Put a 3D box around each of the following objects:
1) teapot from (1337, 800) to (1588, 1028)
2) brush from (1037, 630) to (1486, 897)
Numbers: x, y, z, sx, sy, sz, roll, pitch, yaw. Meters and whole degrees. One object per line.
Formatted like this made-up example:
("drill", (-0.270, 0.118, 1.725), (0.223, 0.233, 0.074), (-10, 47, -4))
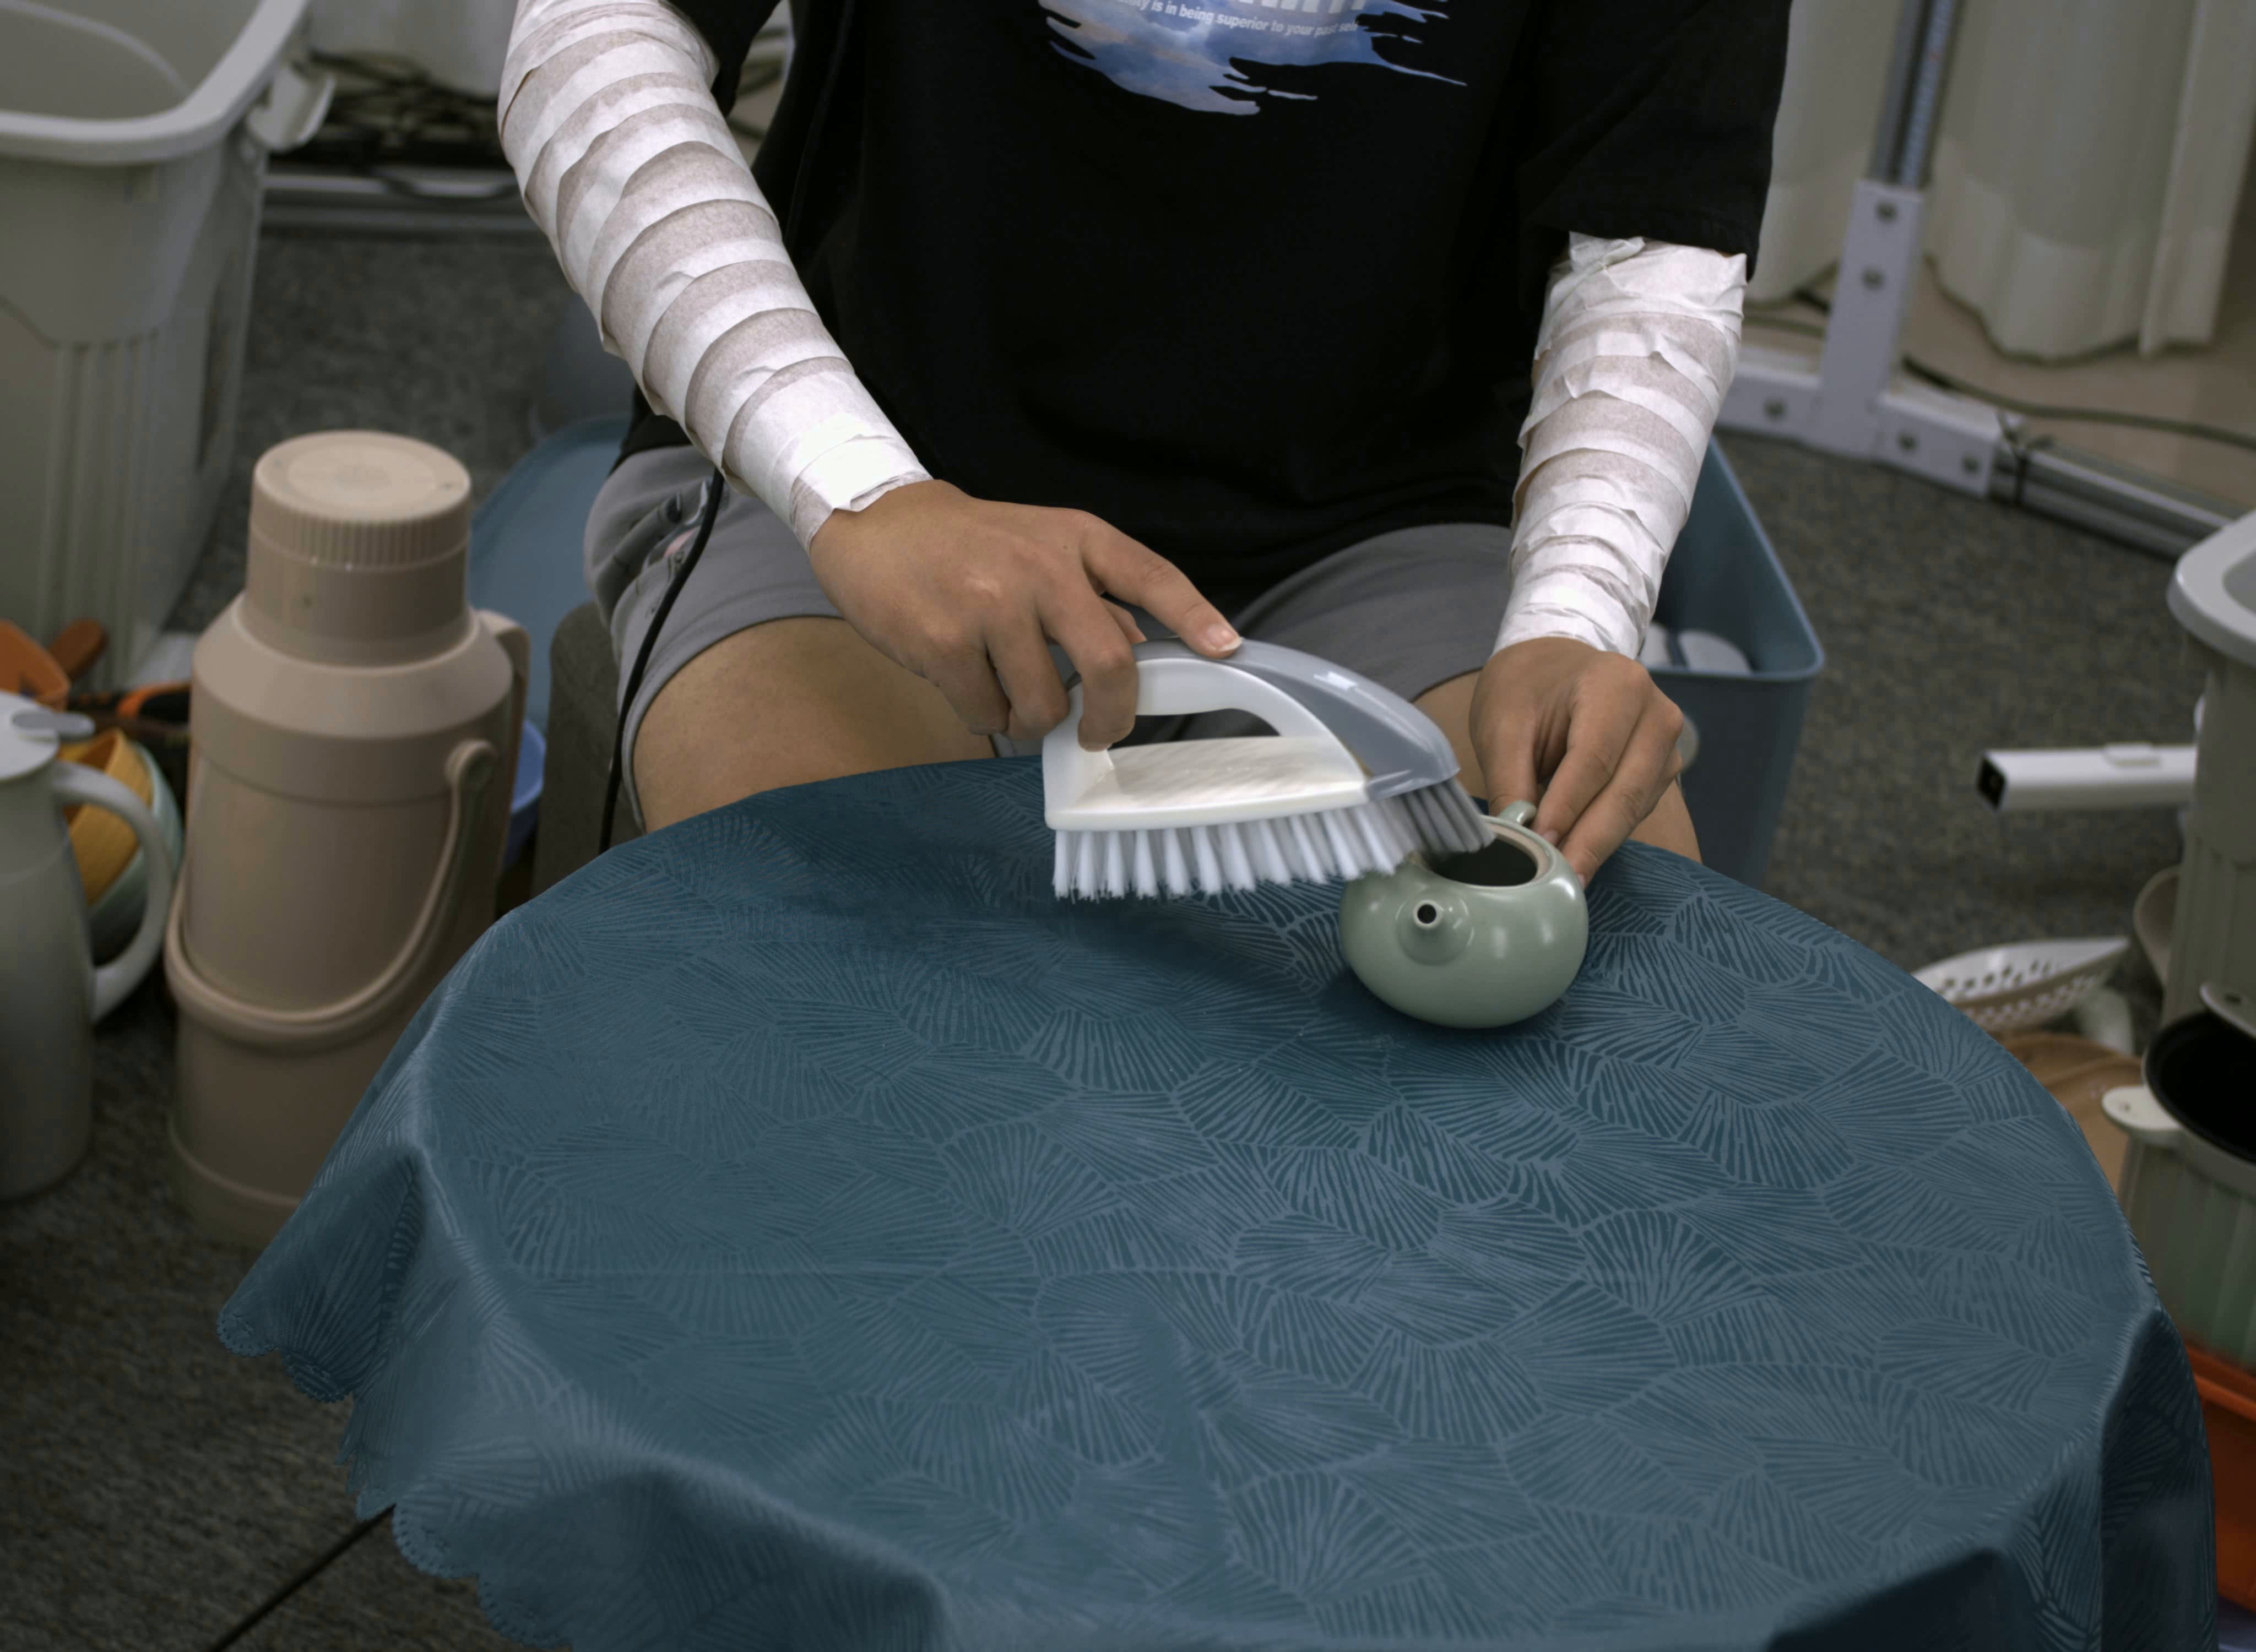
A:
("teapot", (0.126, 0.031, 1.948), (0.092, 0.061, 0.128), (17, 28, 23))
("brush", (0.043, -0.028, 1.930), (0.176, 0.094, 0.061), (0, 29, 34))
